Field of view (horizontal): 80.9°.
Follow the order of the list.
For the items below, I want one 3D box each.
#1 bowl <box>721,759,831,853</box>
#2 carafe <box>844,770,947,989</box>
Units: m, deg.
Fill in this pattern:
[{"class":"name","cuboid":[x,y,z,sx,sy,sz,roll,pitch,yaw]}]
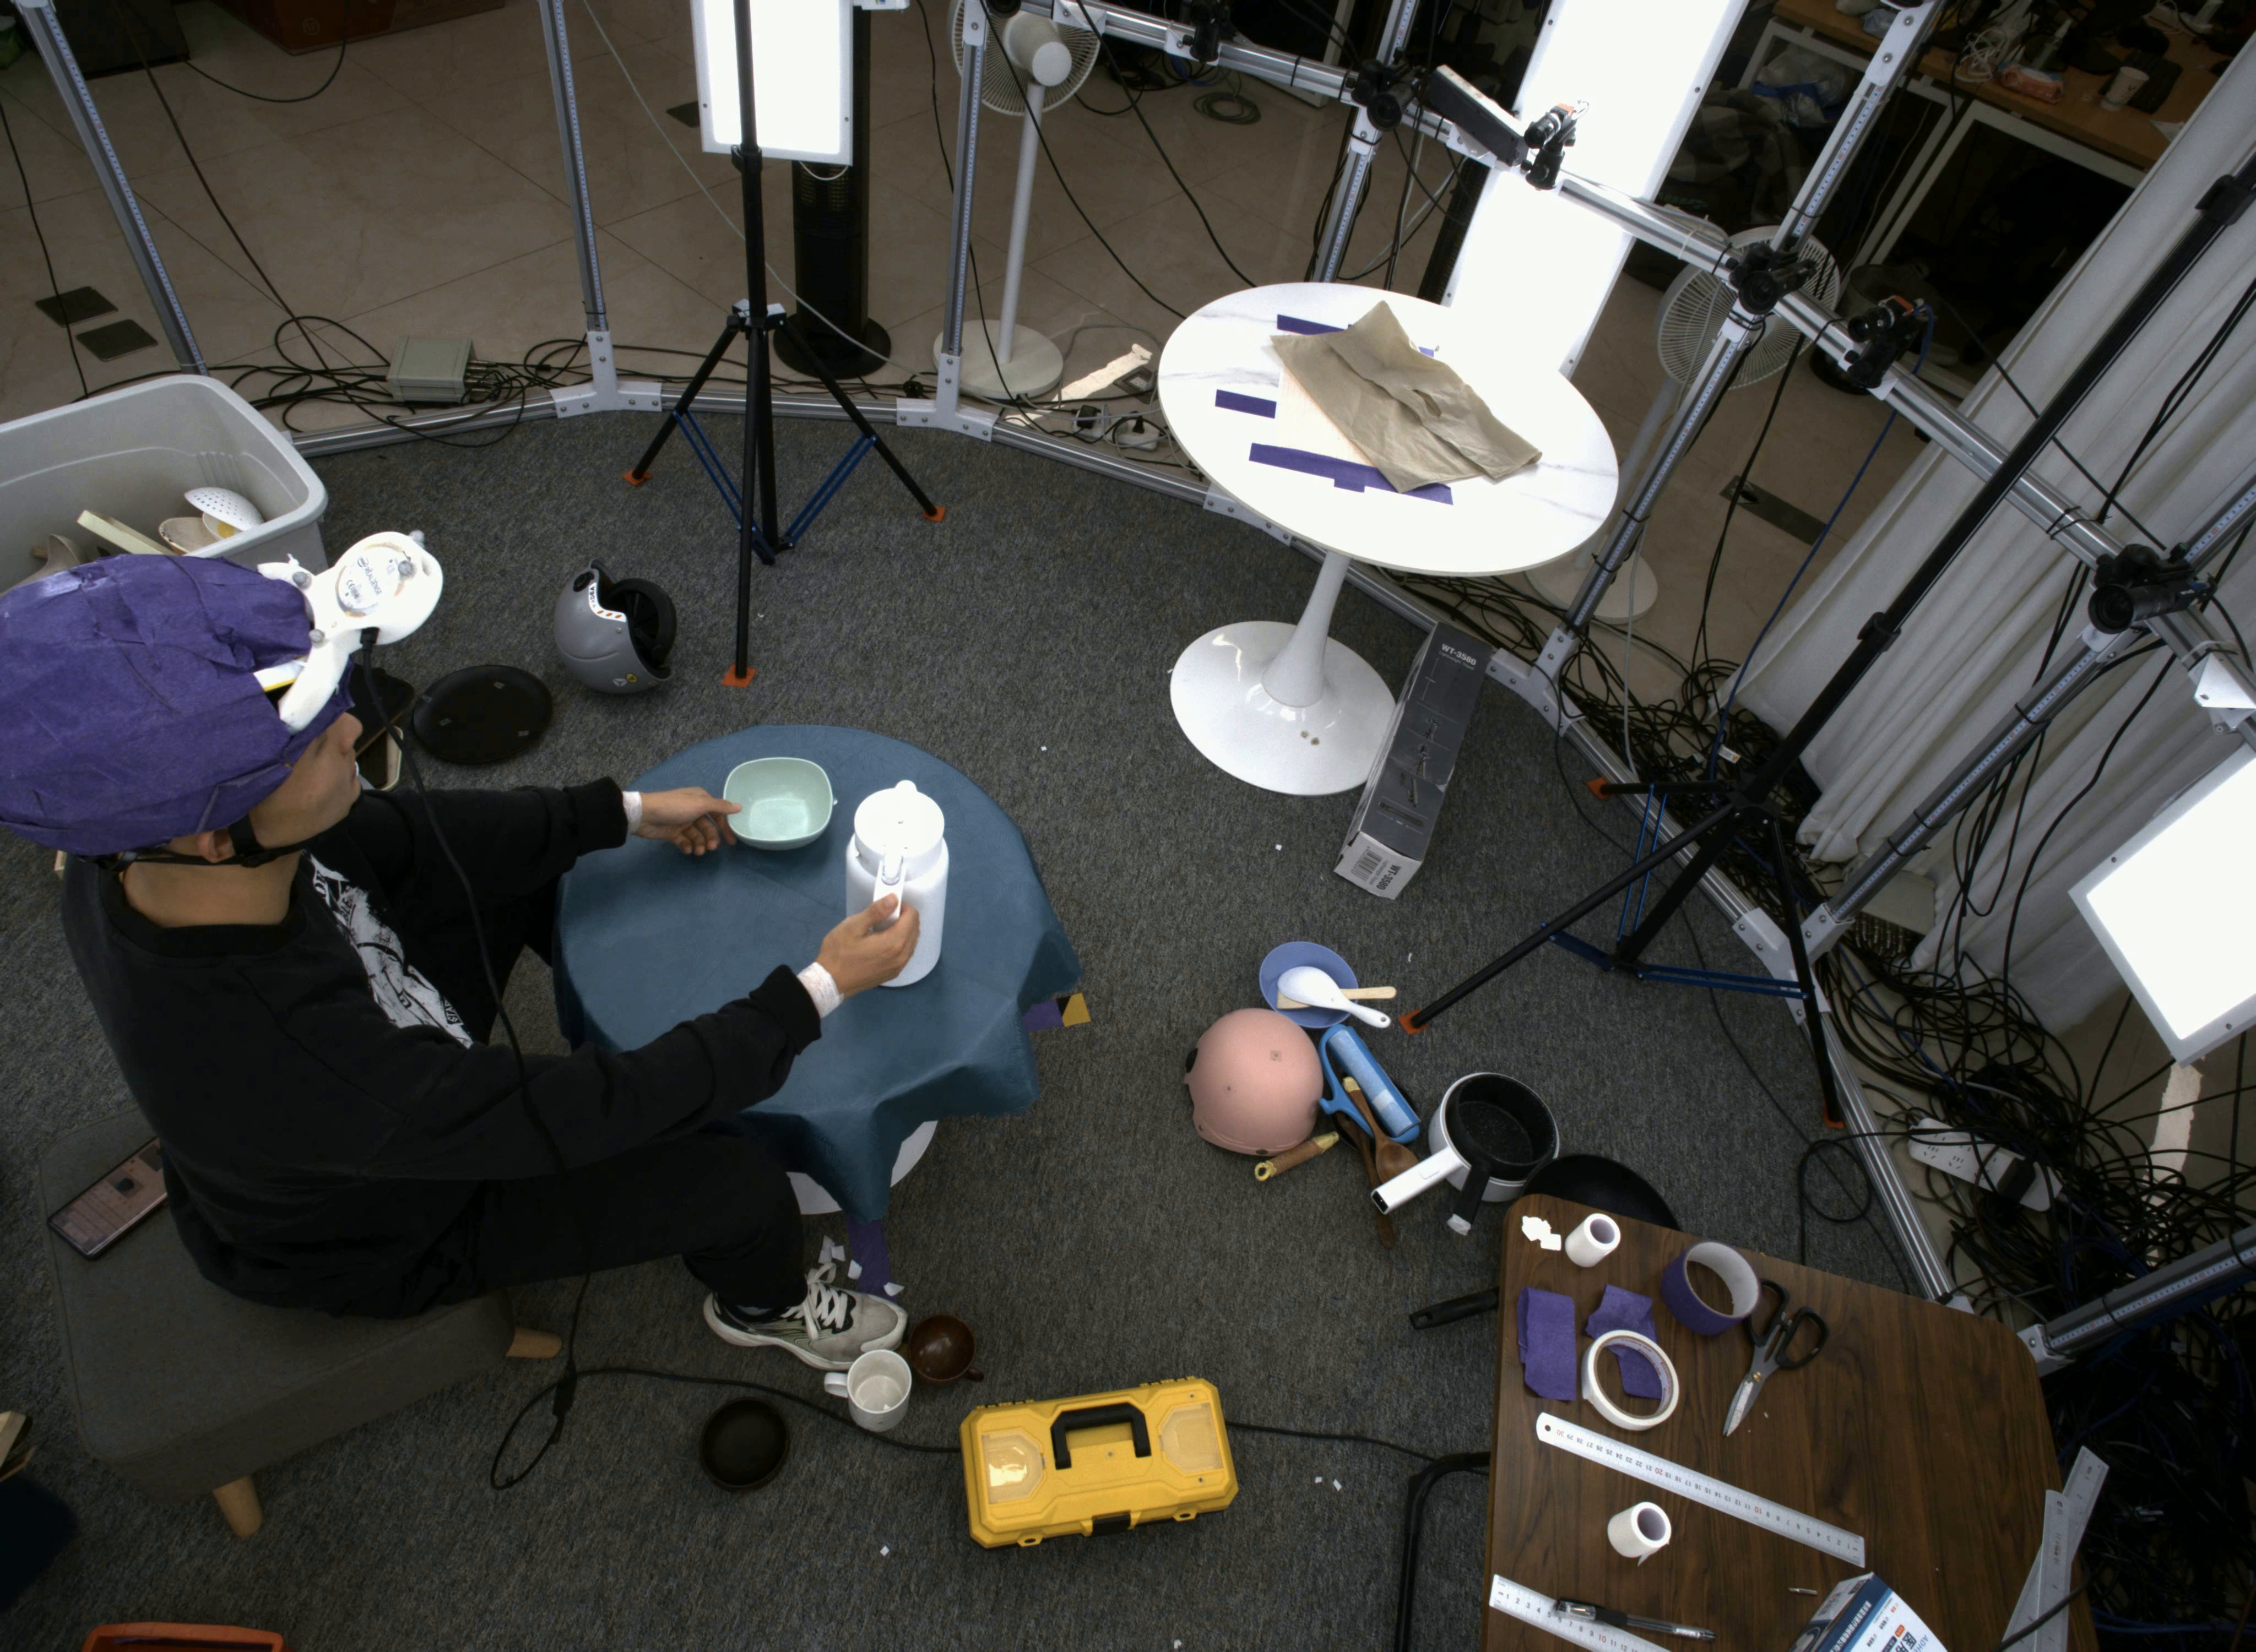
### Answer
[{"class":"bowl","cuboid":[-0.458,-0.018,1.691,0.151,0.060,0.149,8,52,-8]},{"class":"carafe","cuboid":[-0.273,0.085,1.524,0.124,0.274,0.169,6,51,-9]}]
